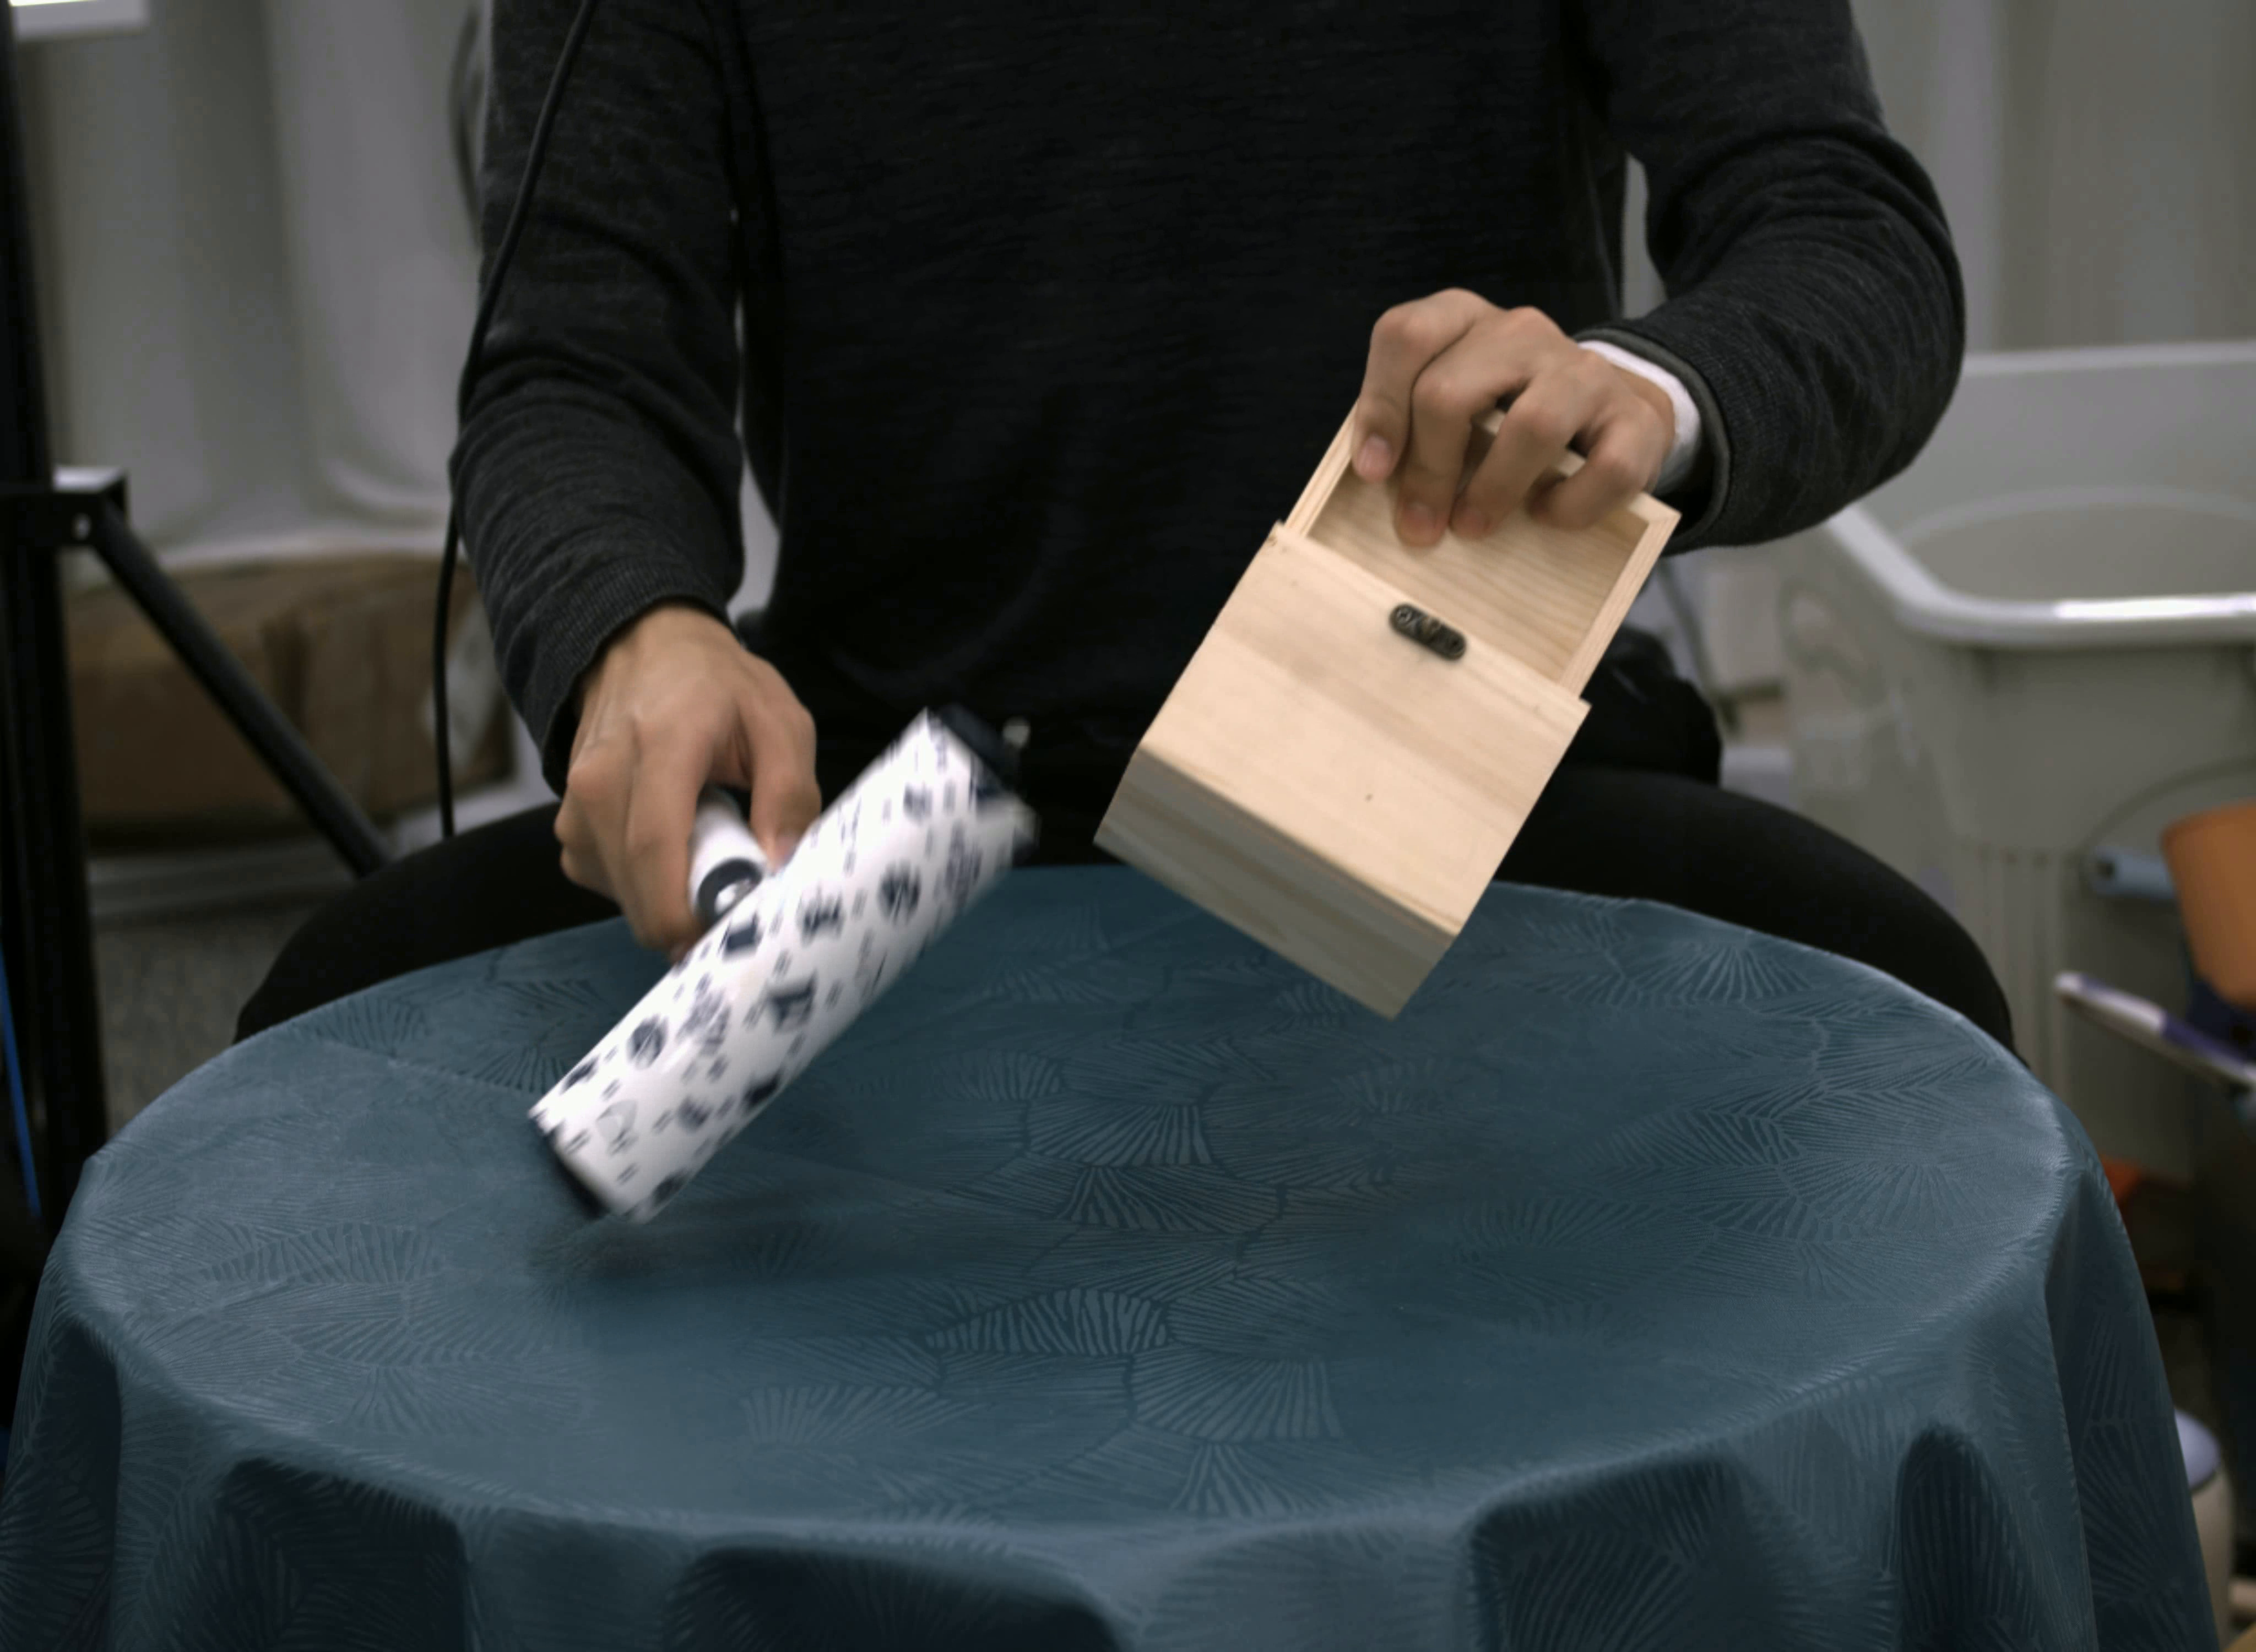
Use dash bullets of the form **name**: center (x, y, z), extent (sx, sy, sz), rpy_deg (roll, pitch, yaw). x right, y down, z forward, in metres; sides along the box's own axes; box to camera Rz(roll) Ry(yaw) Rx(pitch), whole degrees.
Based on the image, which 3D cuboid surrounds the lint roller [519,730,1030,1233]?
- **lint roller**: center (-0.123, 0.023, 1.609), extent (0.176, 0.050, 0.250), rpy_deg (-44, 19, 0)

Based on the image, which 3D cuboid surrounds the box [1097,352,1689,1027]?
- **box**: center (0.083, -0.053, 1.504), extent (0.103, 0.184, 0.134), rpy_deg (31, -17, 3)
